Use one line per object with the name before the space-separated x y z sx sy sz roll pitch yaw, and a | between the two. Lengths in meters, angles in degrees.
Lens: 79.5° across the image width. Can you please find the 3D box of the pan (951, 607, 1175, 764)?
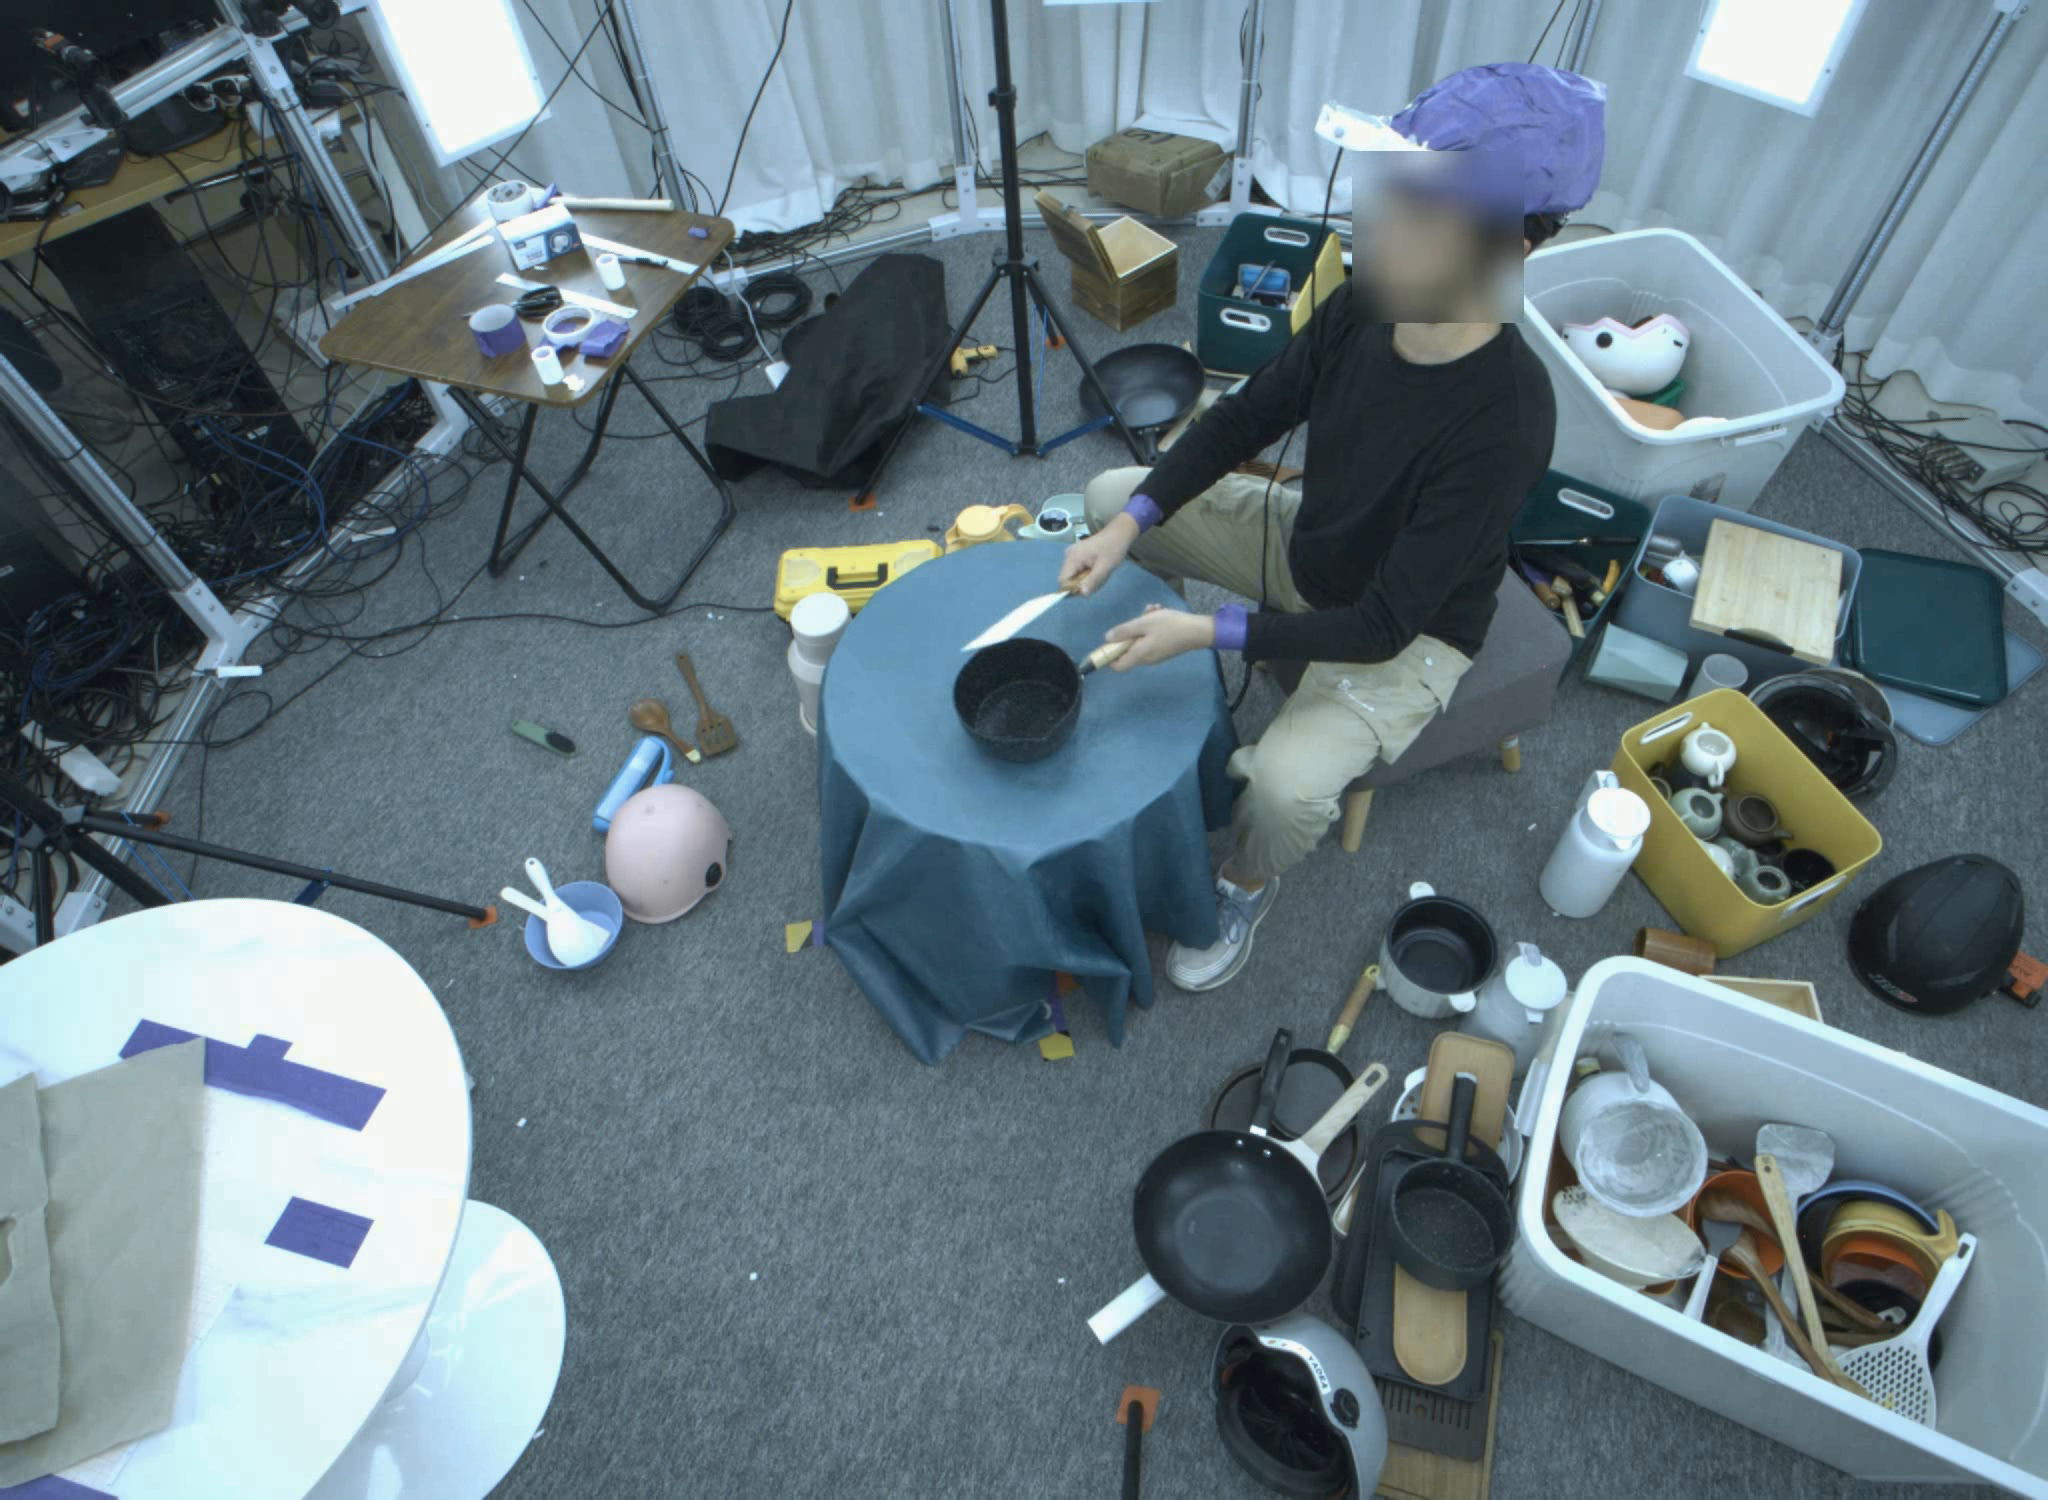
pan | 0.064 -0.105 1.776 0.344 0.110 0.203 -25 57 -8

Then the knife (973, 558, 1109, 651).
knife | 0.024 -0.212 1.793 0.091 0.021 0.308 -11 21 38
